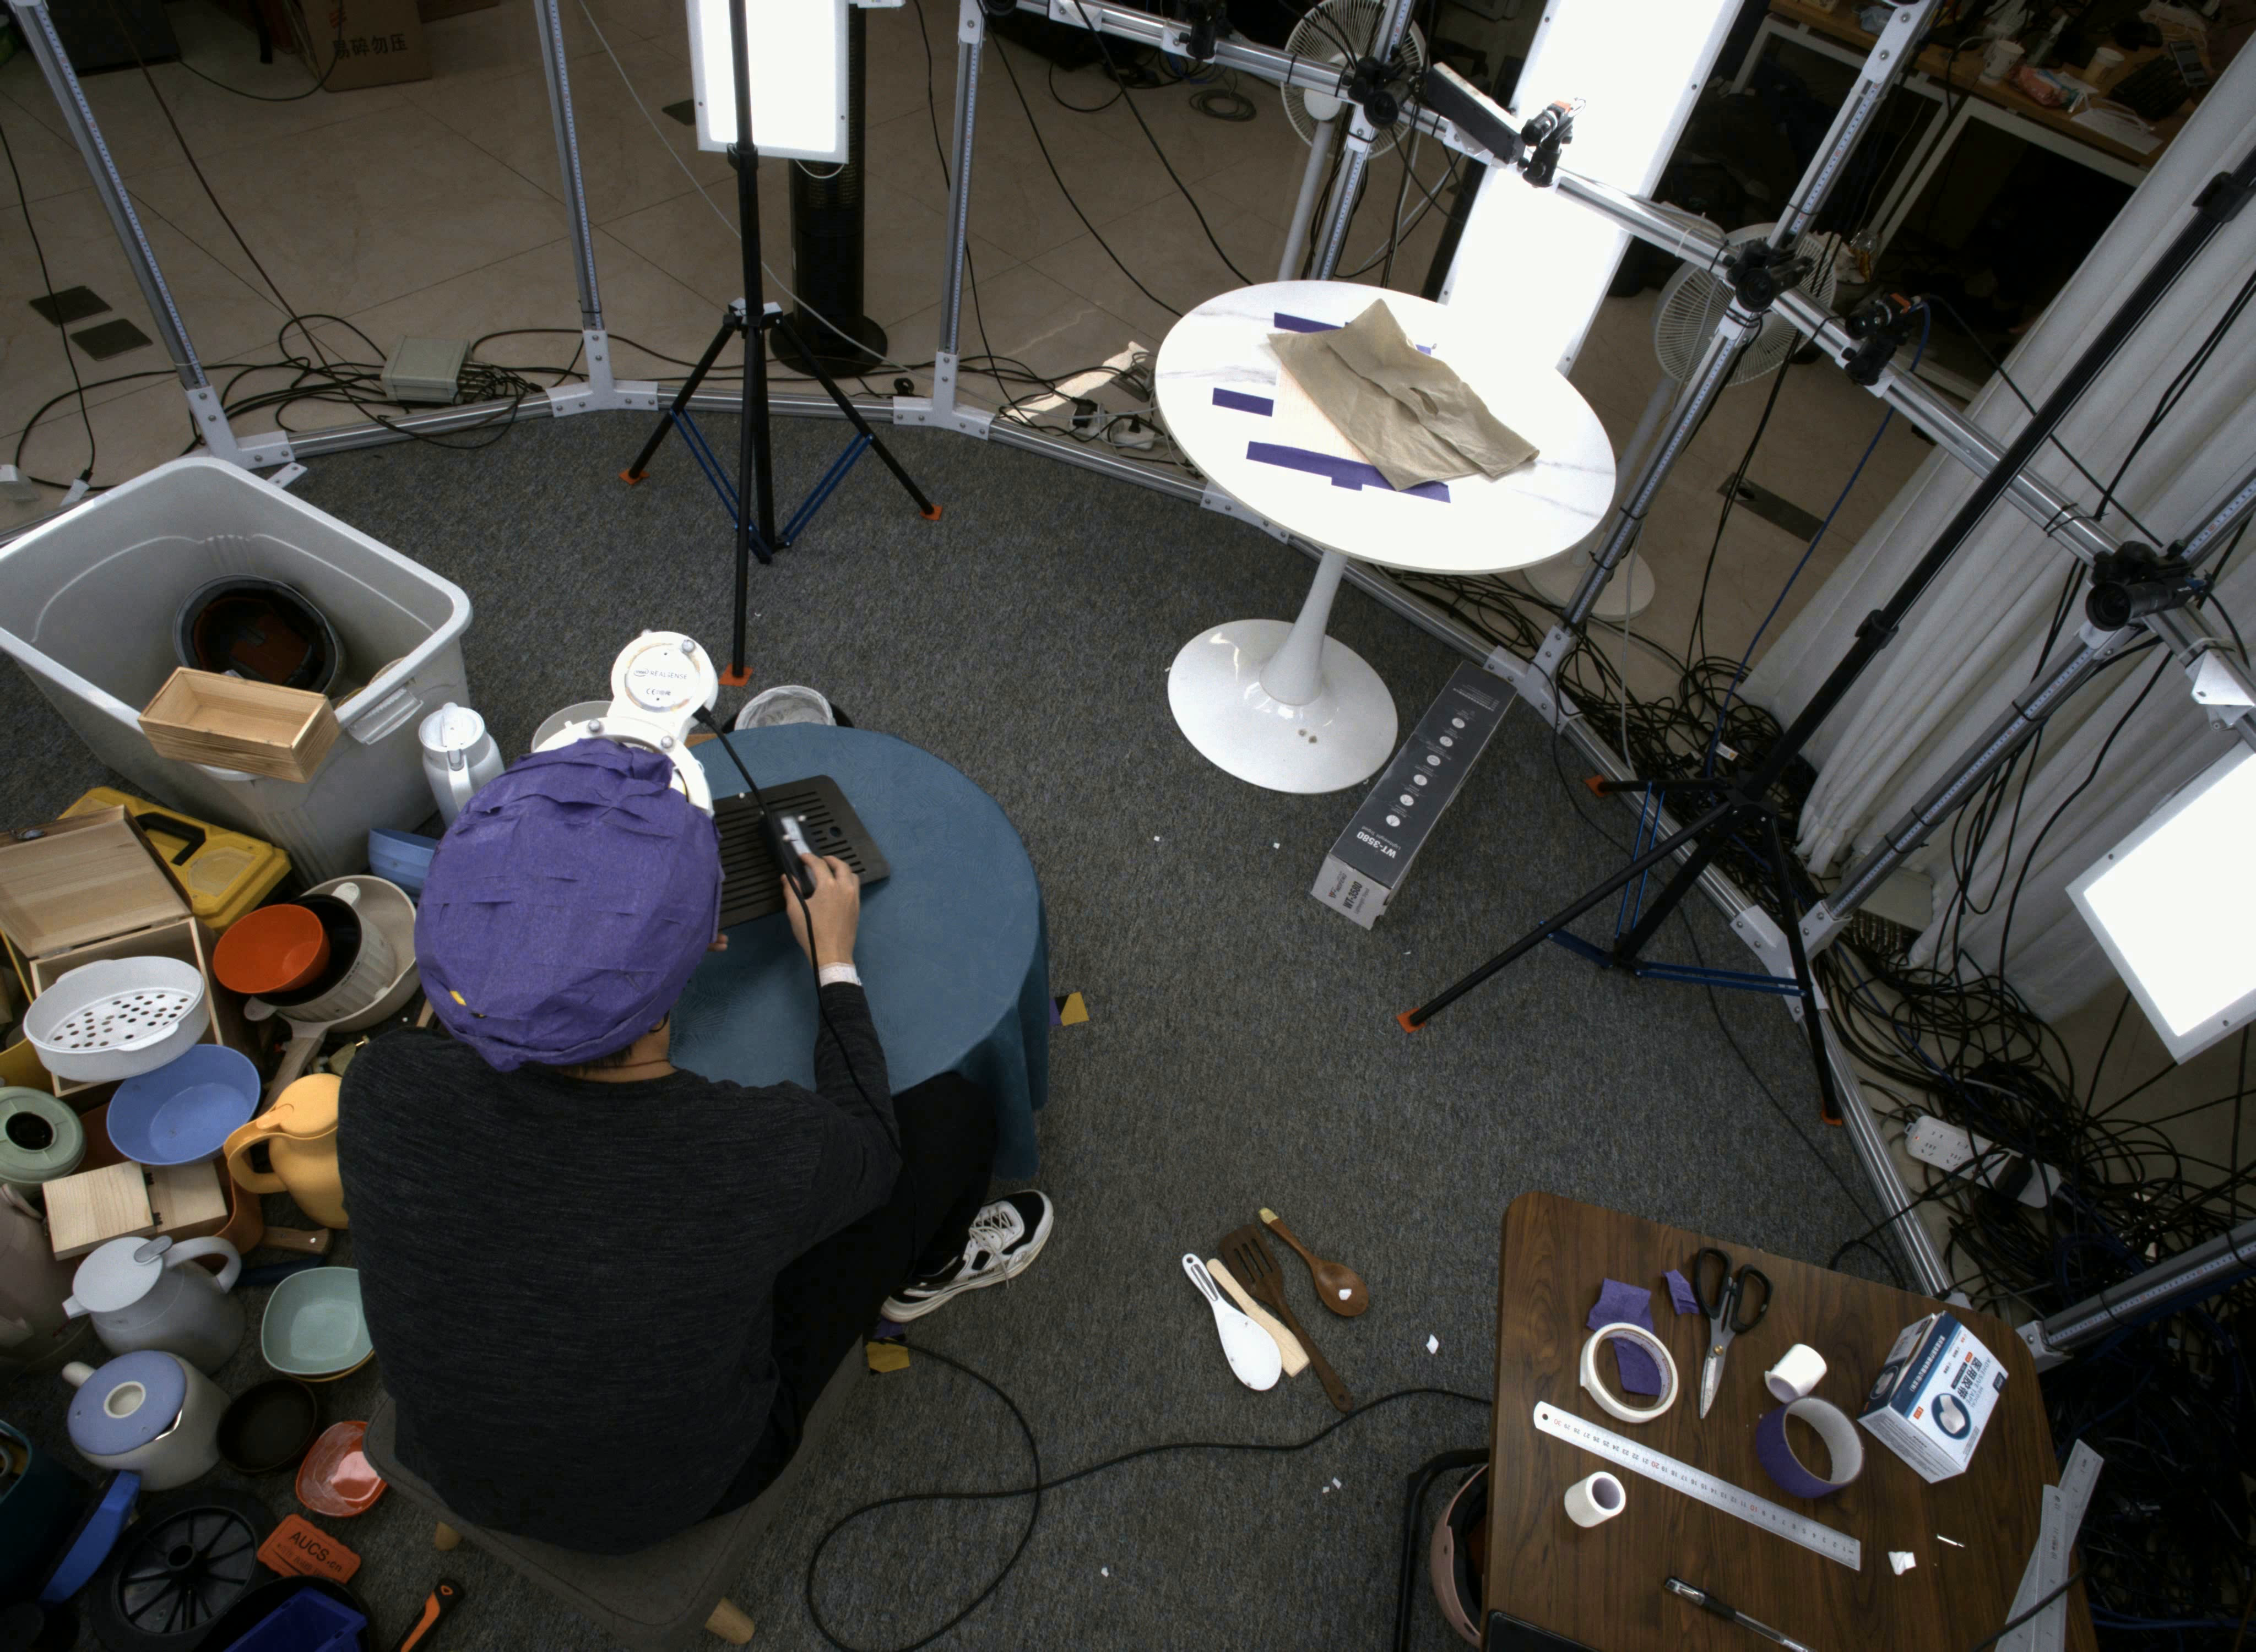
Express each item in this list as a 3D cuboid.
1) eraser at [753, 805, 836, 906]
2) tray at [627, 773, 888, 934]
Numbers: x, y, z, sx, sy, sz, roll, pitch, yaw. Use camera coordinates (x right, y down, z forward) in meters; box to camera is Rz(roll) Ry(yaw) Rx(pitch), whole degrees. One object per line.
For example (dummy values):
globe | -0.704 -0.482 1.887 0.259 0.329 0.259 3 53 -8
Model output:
eraser | -0.412 0.034 1.595 0.054 0.030 0.124 -16 69 -46
tray | -0.452 0.028 1.598 0.309 0.018 0.168 -19 70 -50
